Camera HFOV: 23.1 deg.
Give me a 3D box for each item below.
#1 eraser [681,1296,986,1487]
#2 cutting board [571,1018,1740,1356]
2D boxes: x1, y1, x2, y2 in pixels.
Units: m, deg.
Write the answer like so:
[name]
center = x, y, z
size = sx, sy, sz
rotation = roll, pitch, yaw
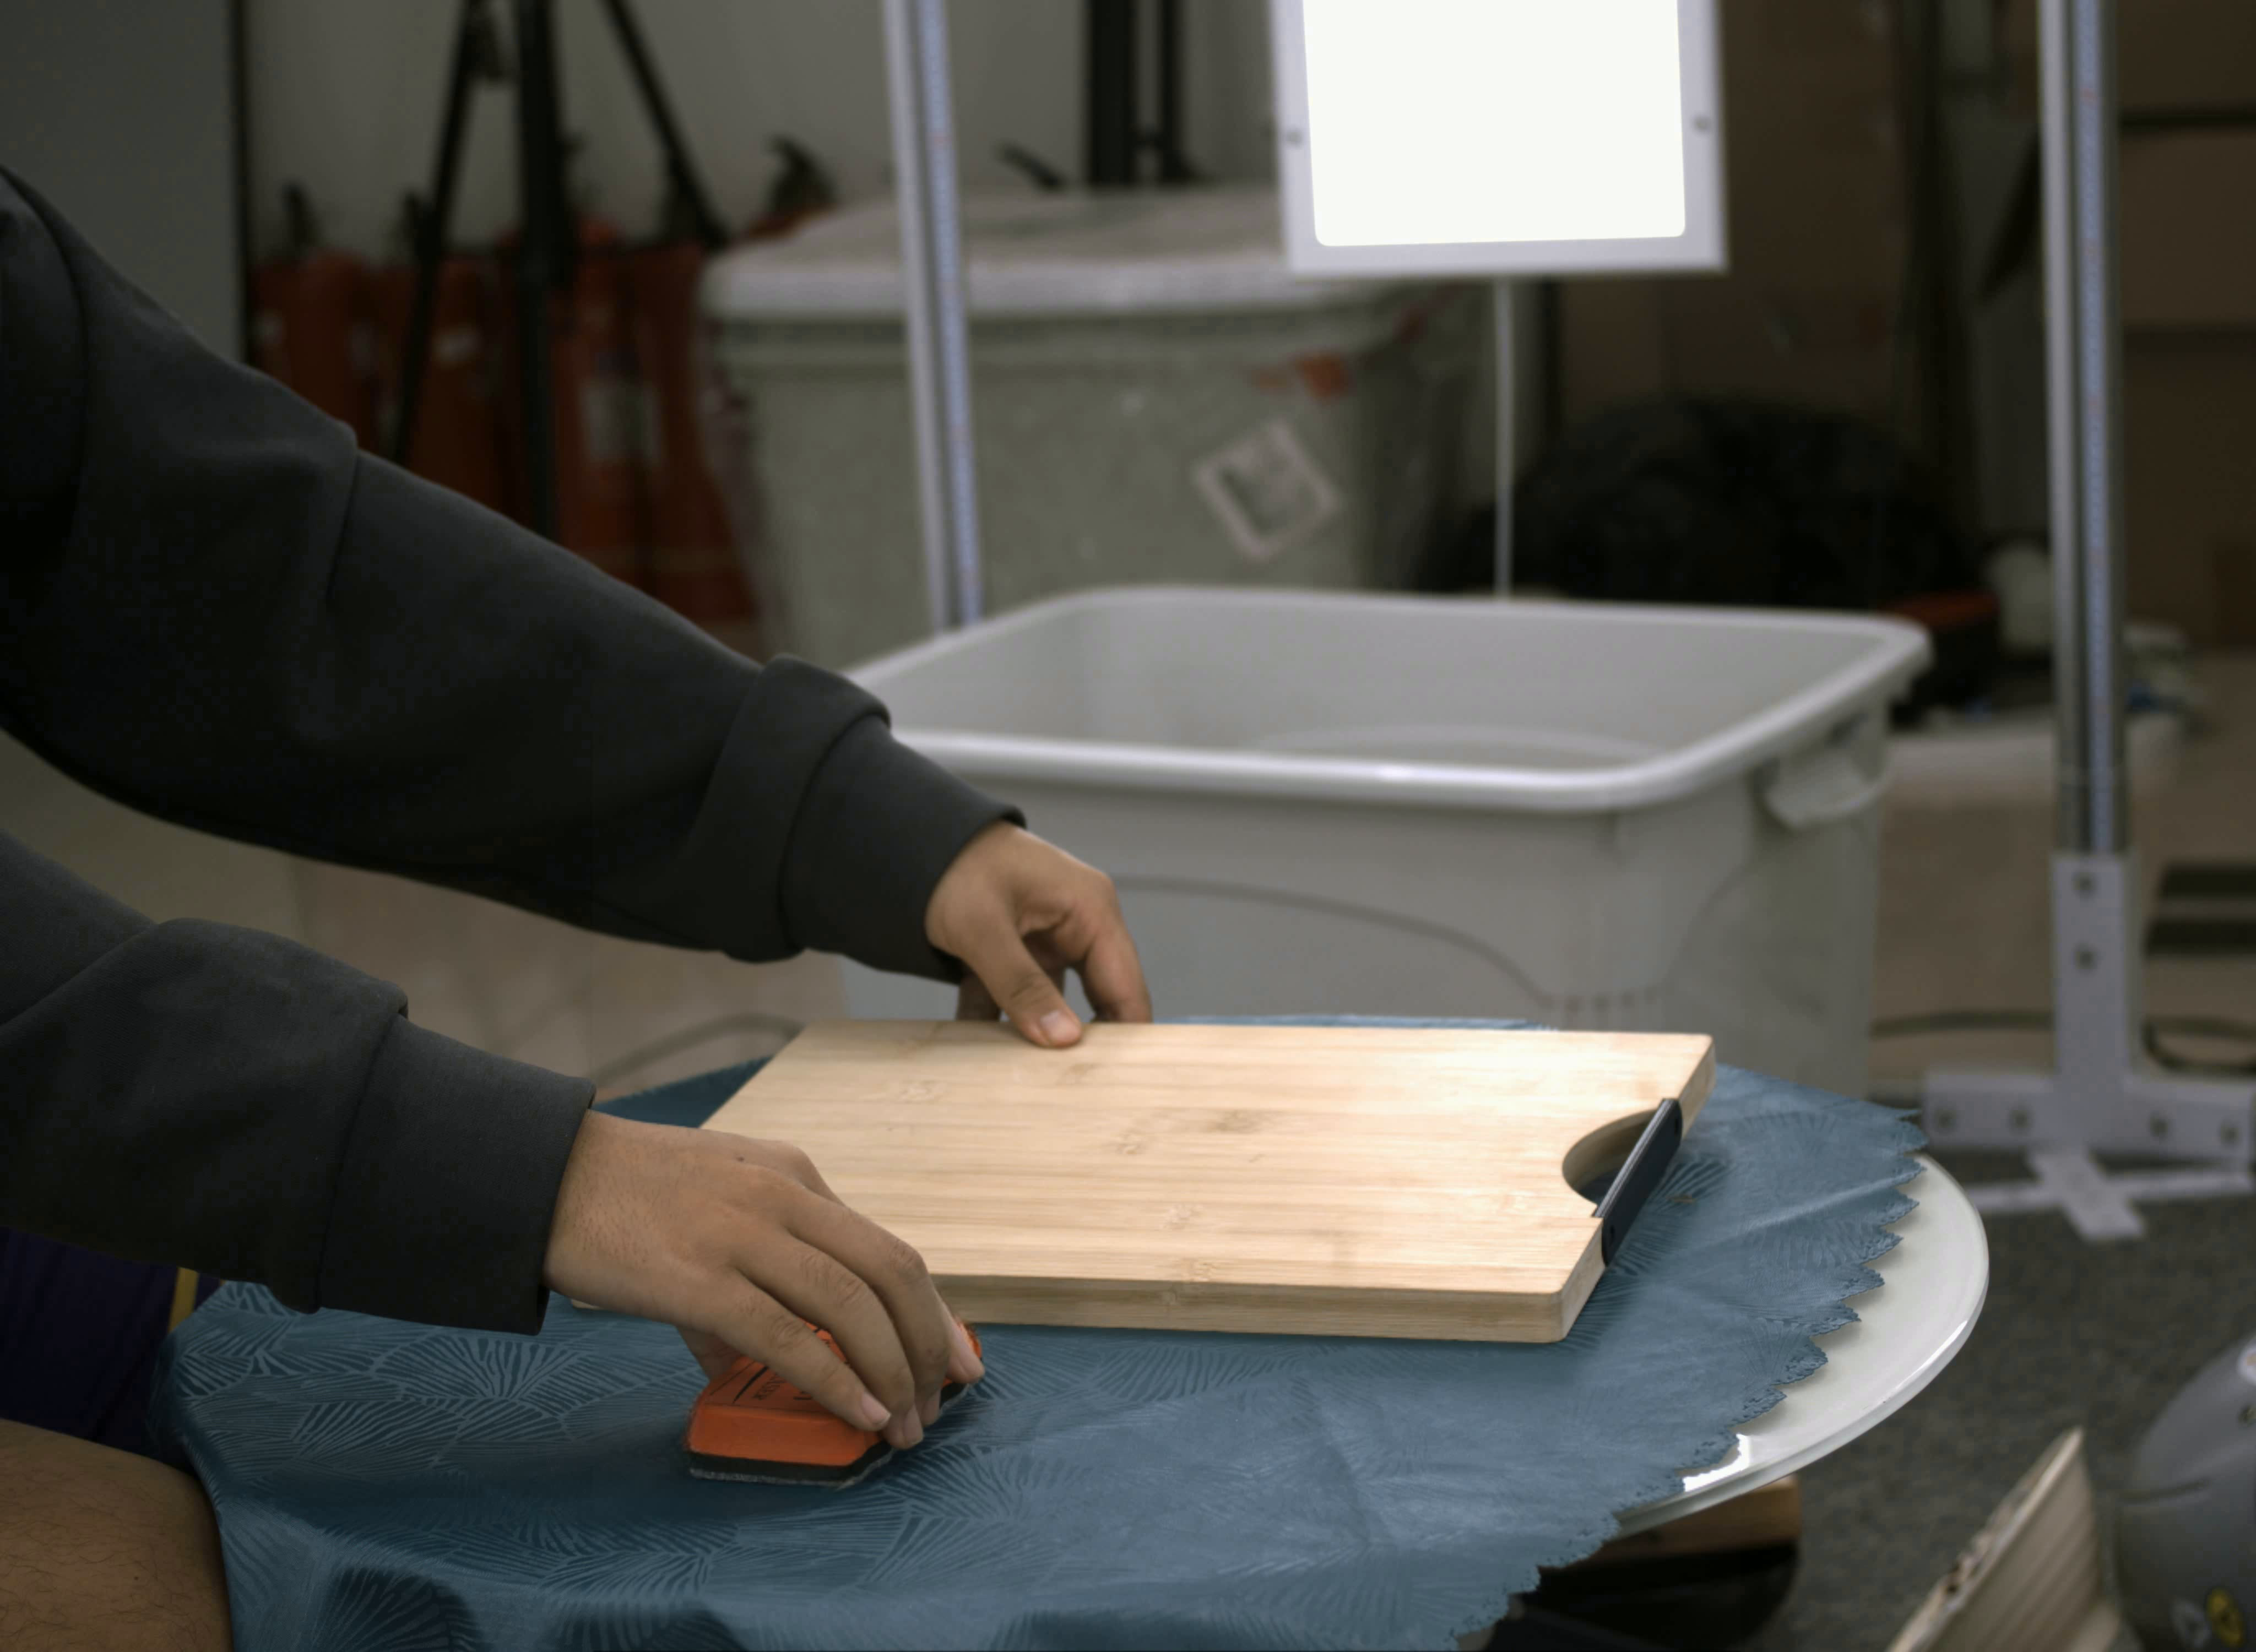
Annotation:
[eraser]
center = -0.089, 0.172, 1.692
size = 0.060, 0.023, 0.106
rotation = 1, 15, 25
[cutting board]
center = 0.015, 0.117, 1.869
size = 0.353, 0.023, 0.246
rotation = 0, 18, 20
